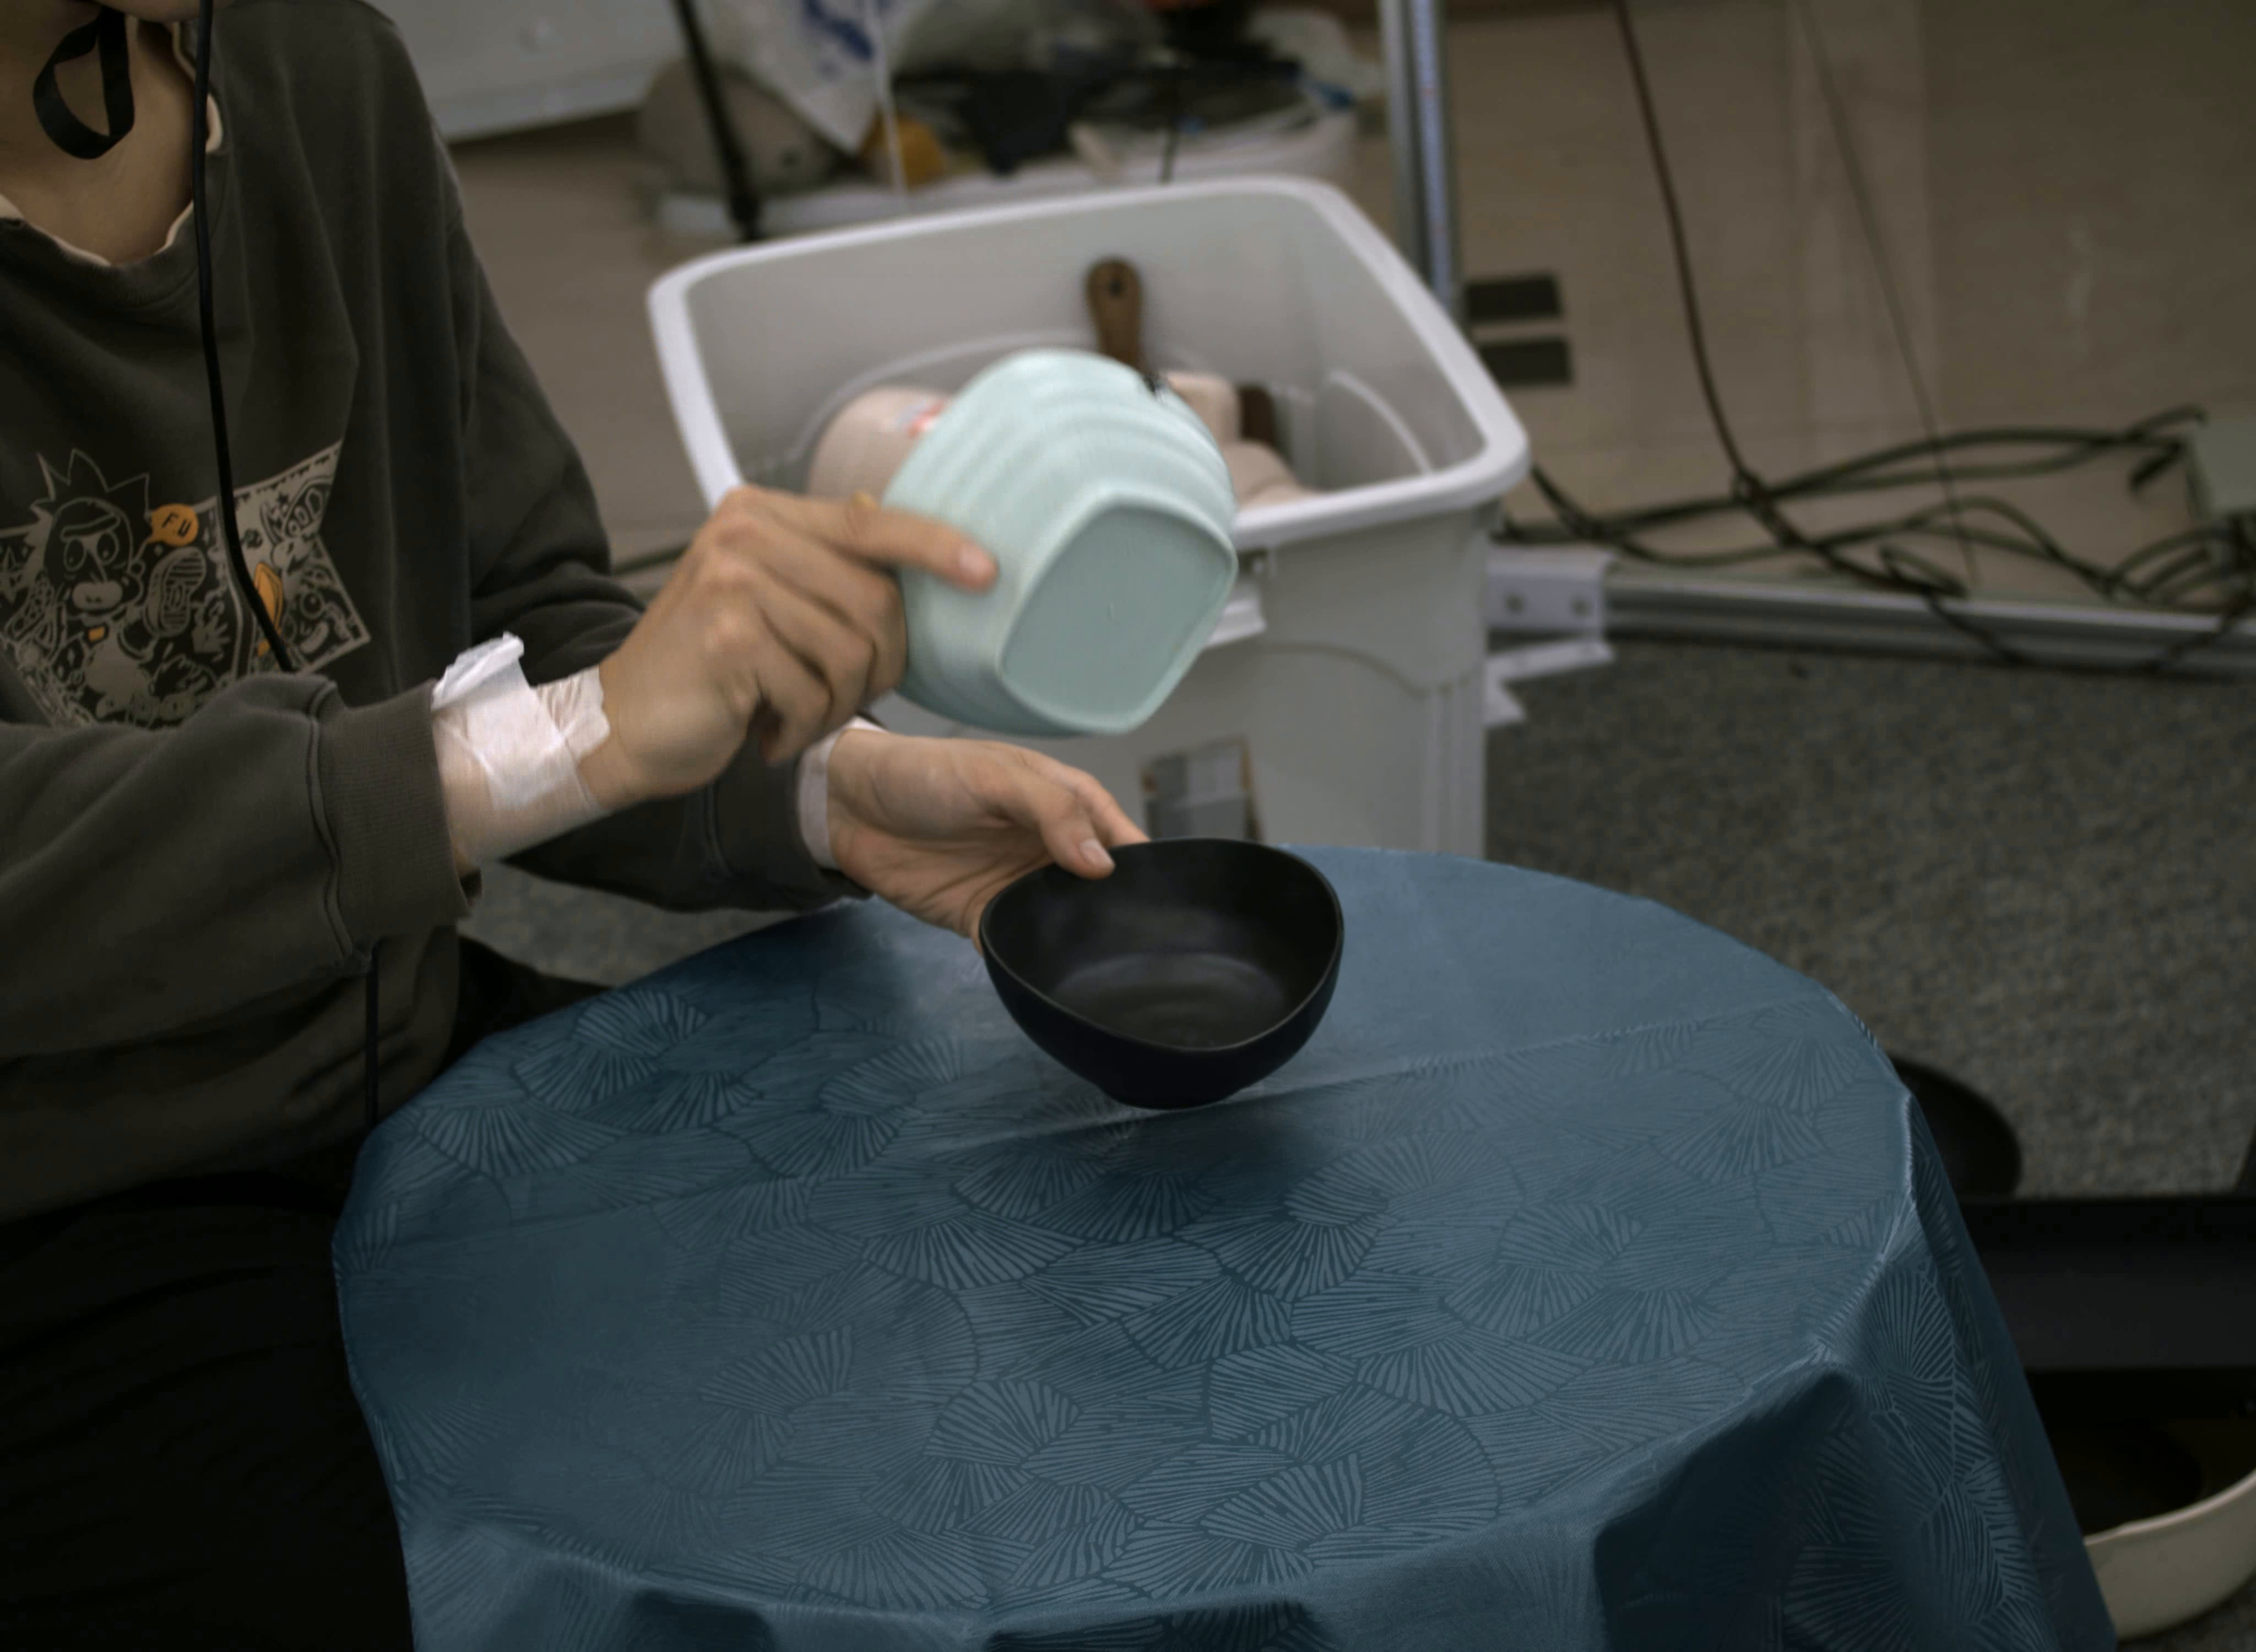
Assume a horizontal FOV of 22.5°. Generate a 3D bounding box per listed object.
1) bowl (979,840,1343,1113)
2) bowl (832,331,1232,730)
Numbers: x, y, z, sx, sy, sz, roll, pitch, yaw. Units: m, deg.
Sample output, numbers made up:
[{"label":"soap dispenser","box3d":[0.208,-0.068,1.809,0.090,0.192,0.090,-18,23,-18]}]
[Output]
[{"label":"bowl","box3d":[0.016,0.065,2.186,0.137,0.068,0.168,-14,28,-15]},{"label":"bowl","box3d":[-0.021,-0.090,1.924,0.150,0.154,0.058,-18,36,-24]}]
